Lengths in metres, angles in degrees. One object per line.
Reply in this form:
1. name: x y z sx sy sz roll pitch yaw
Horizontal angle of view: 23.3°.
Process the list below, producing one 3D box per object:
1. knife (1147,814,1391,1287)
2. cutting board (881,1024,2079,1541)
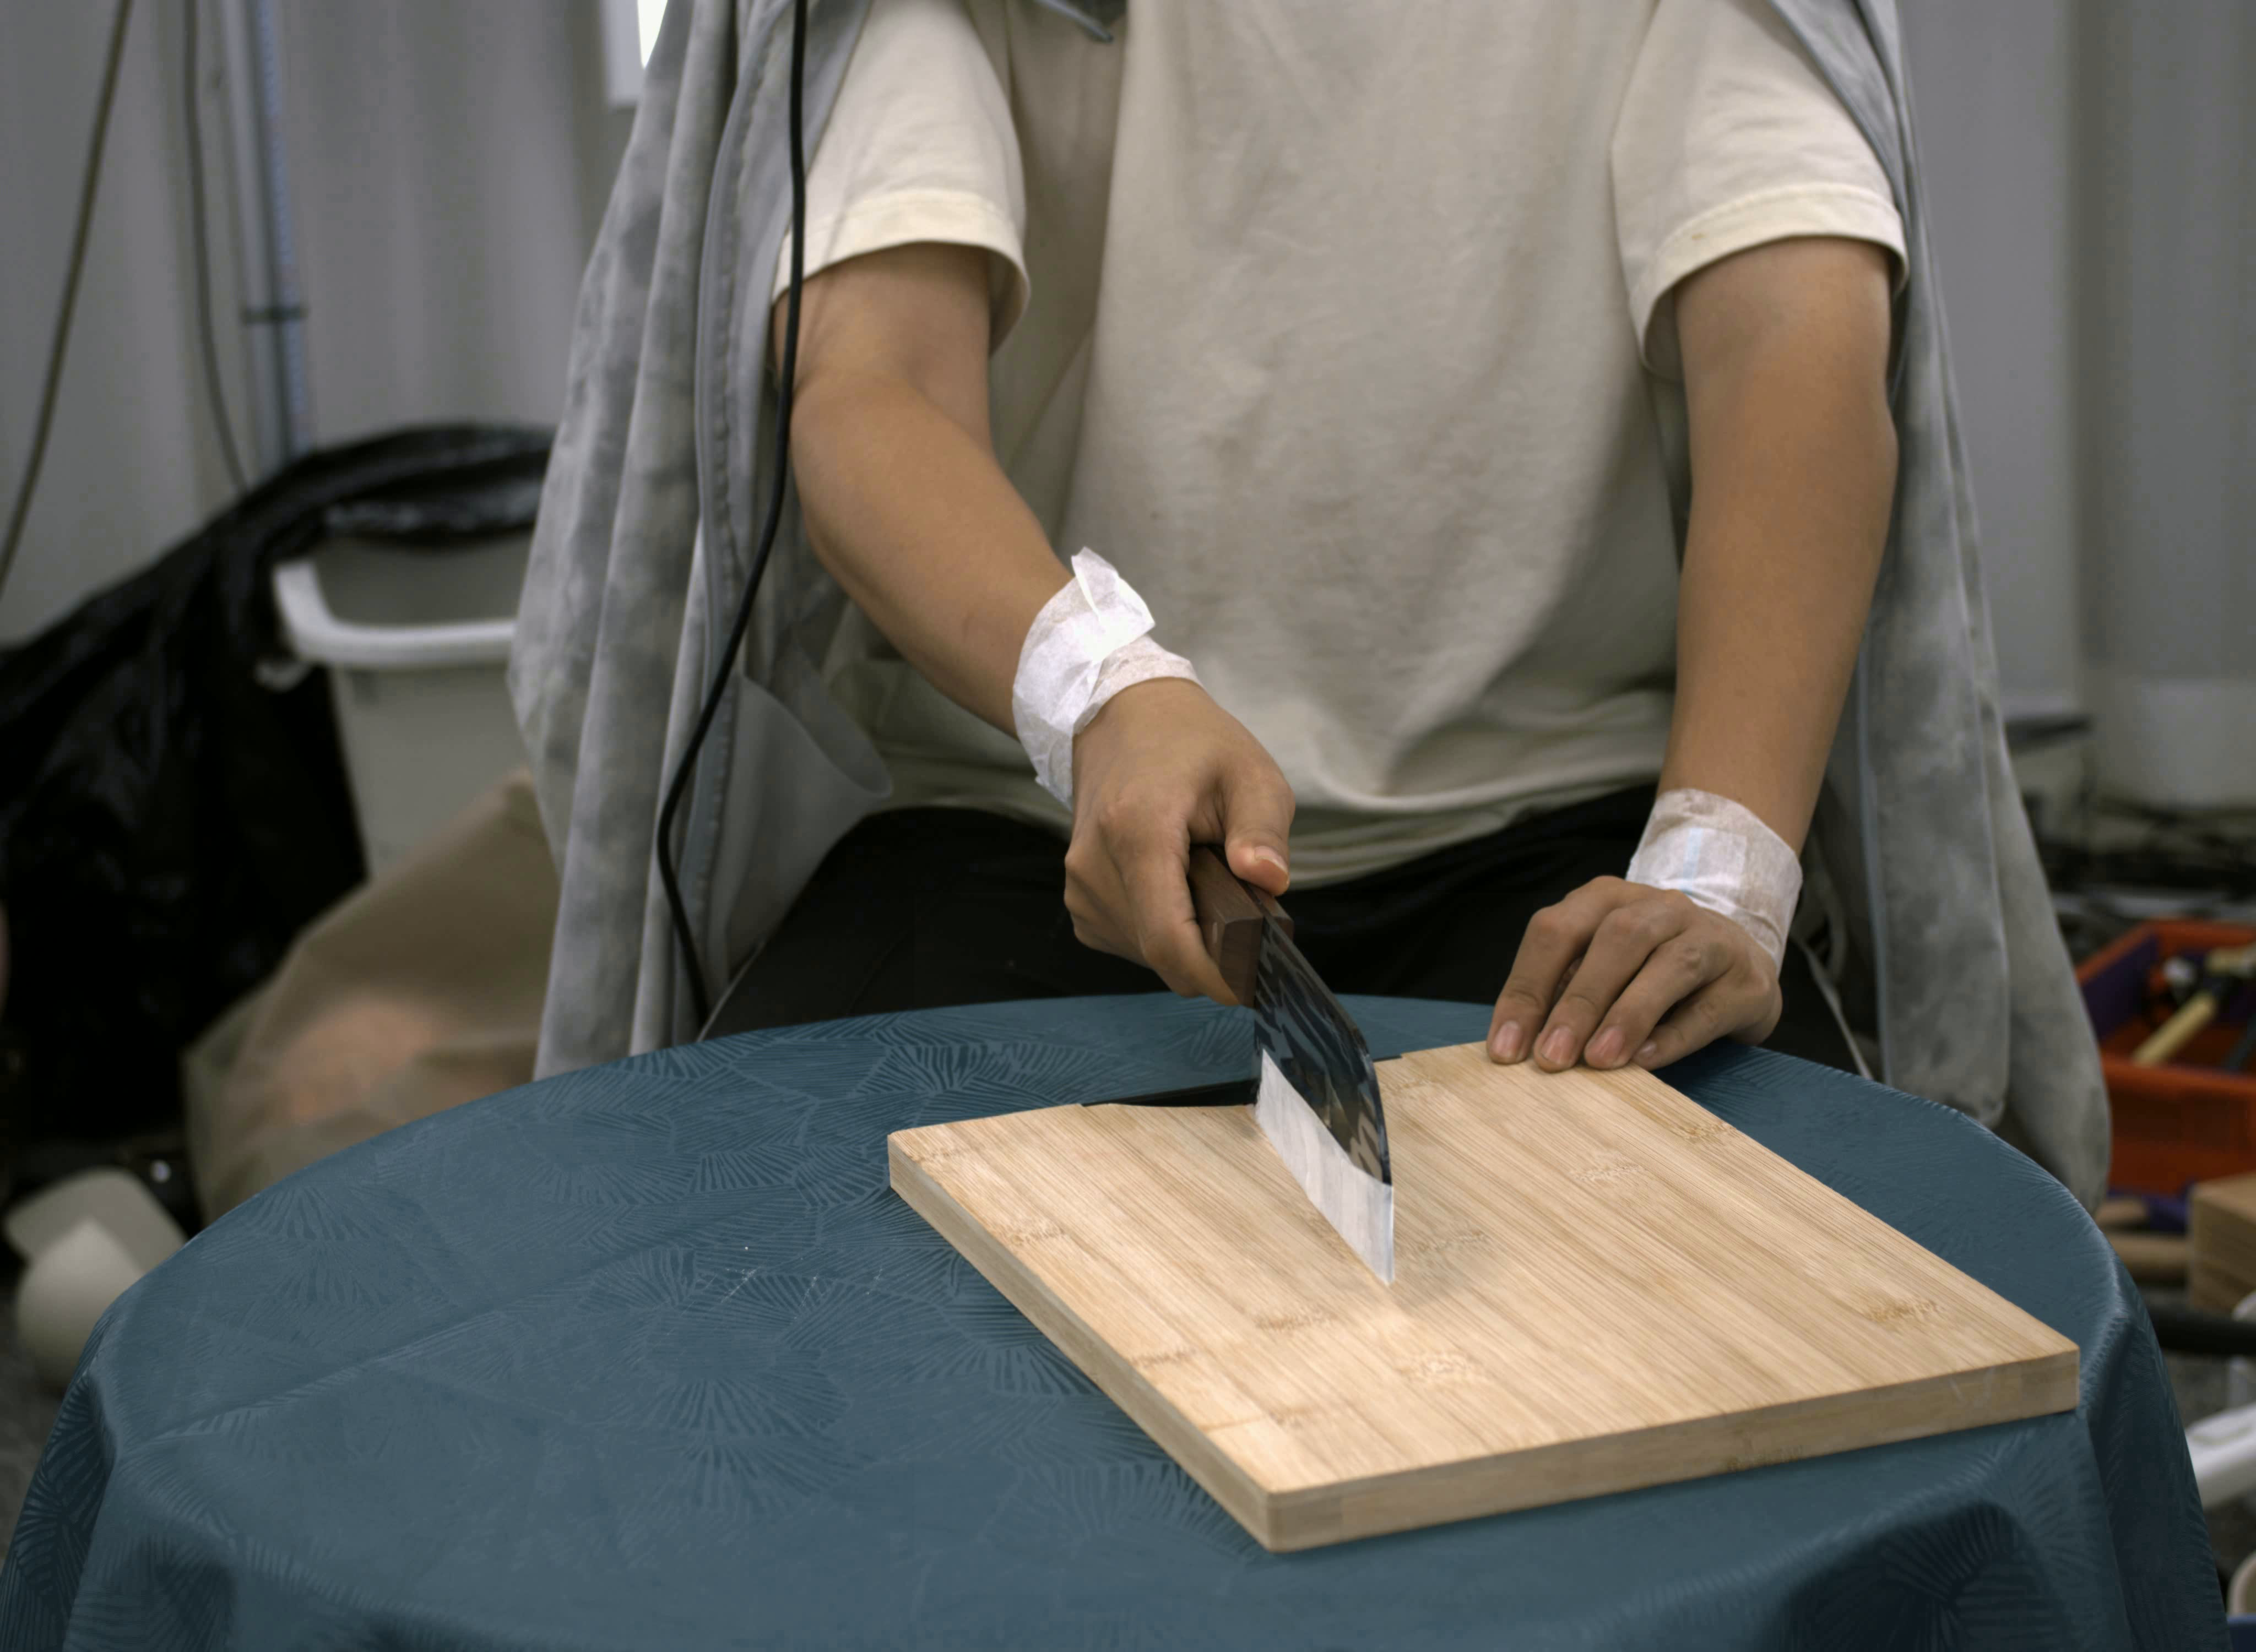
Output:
1. knife: 0.045 0.065 1.686 0.024 0.068 0.302 1 17 -12
2. cutting board: 0.091 0.128 1.620 0.249 0.023 0.351 -8 15 -19
